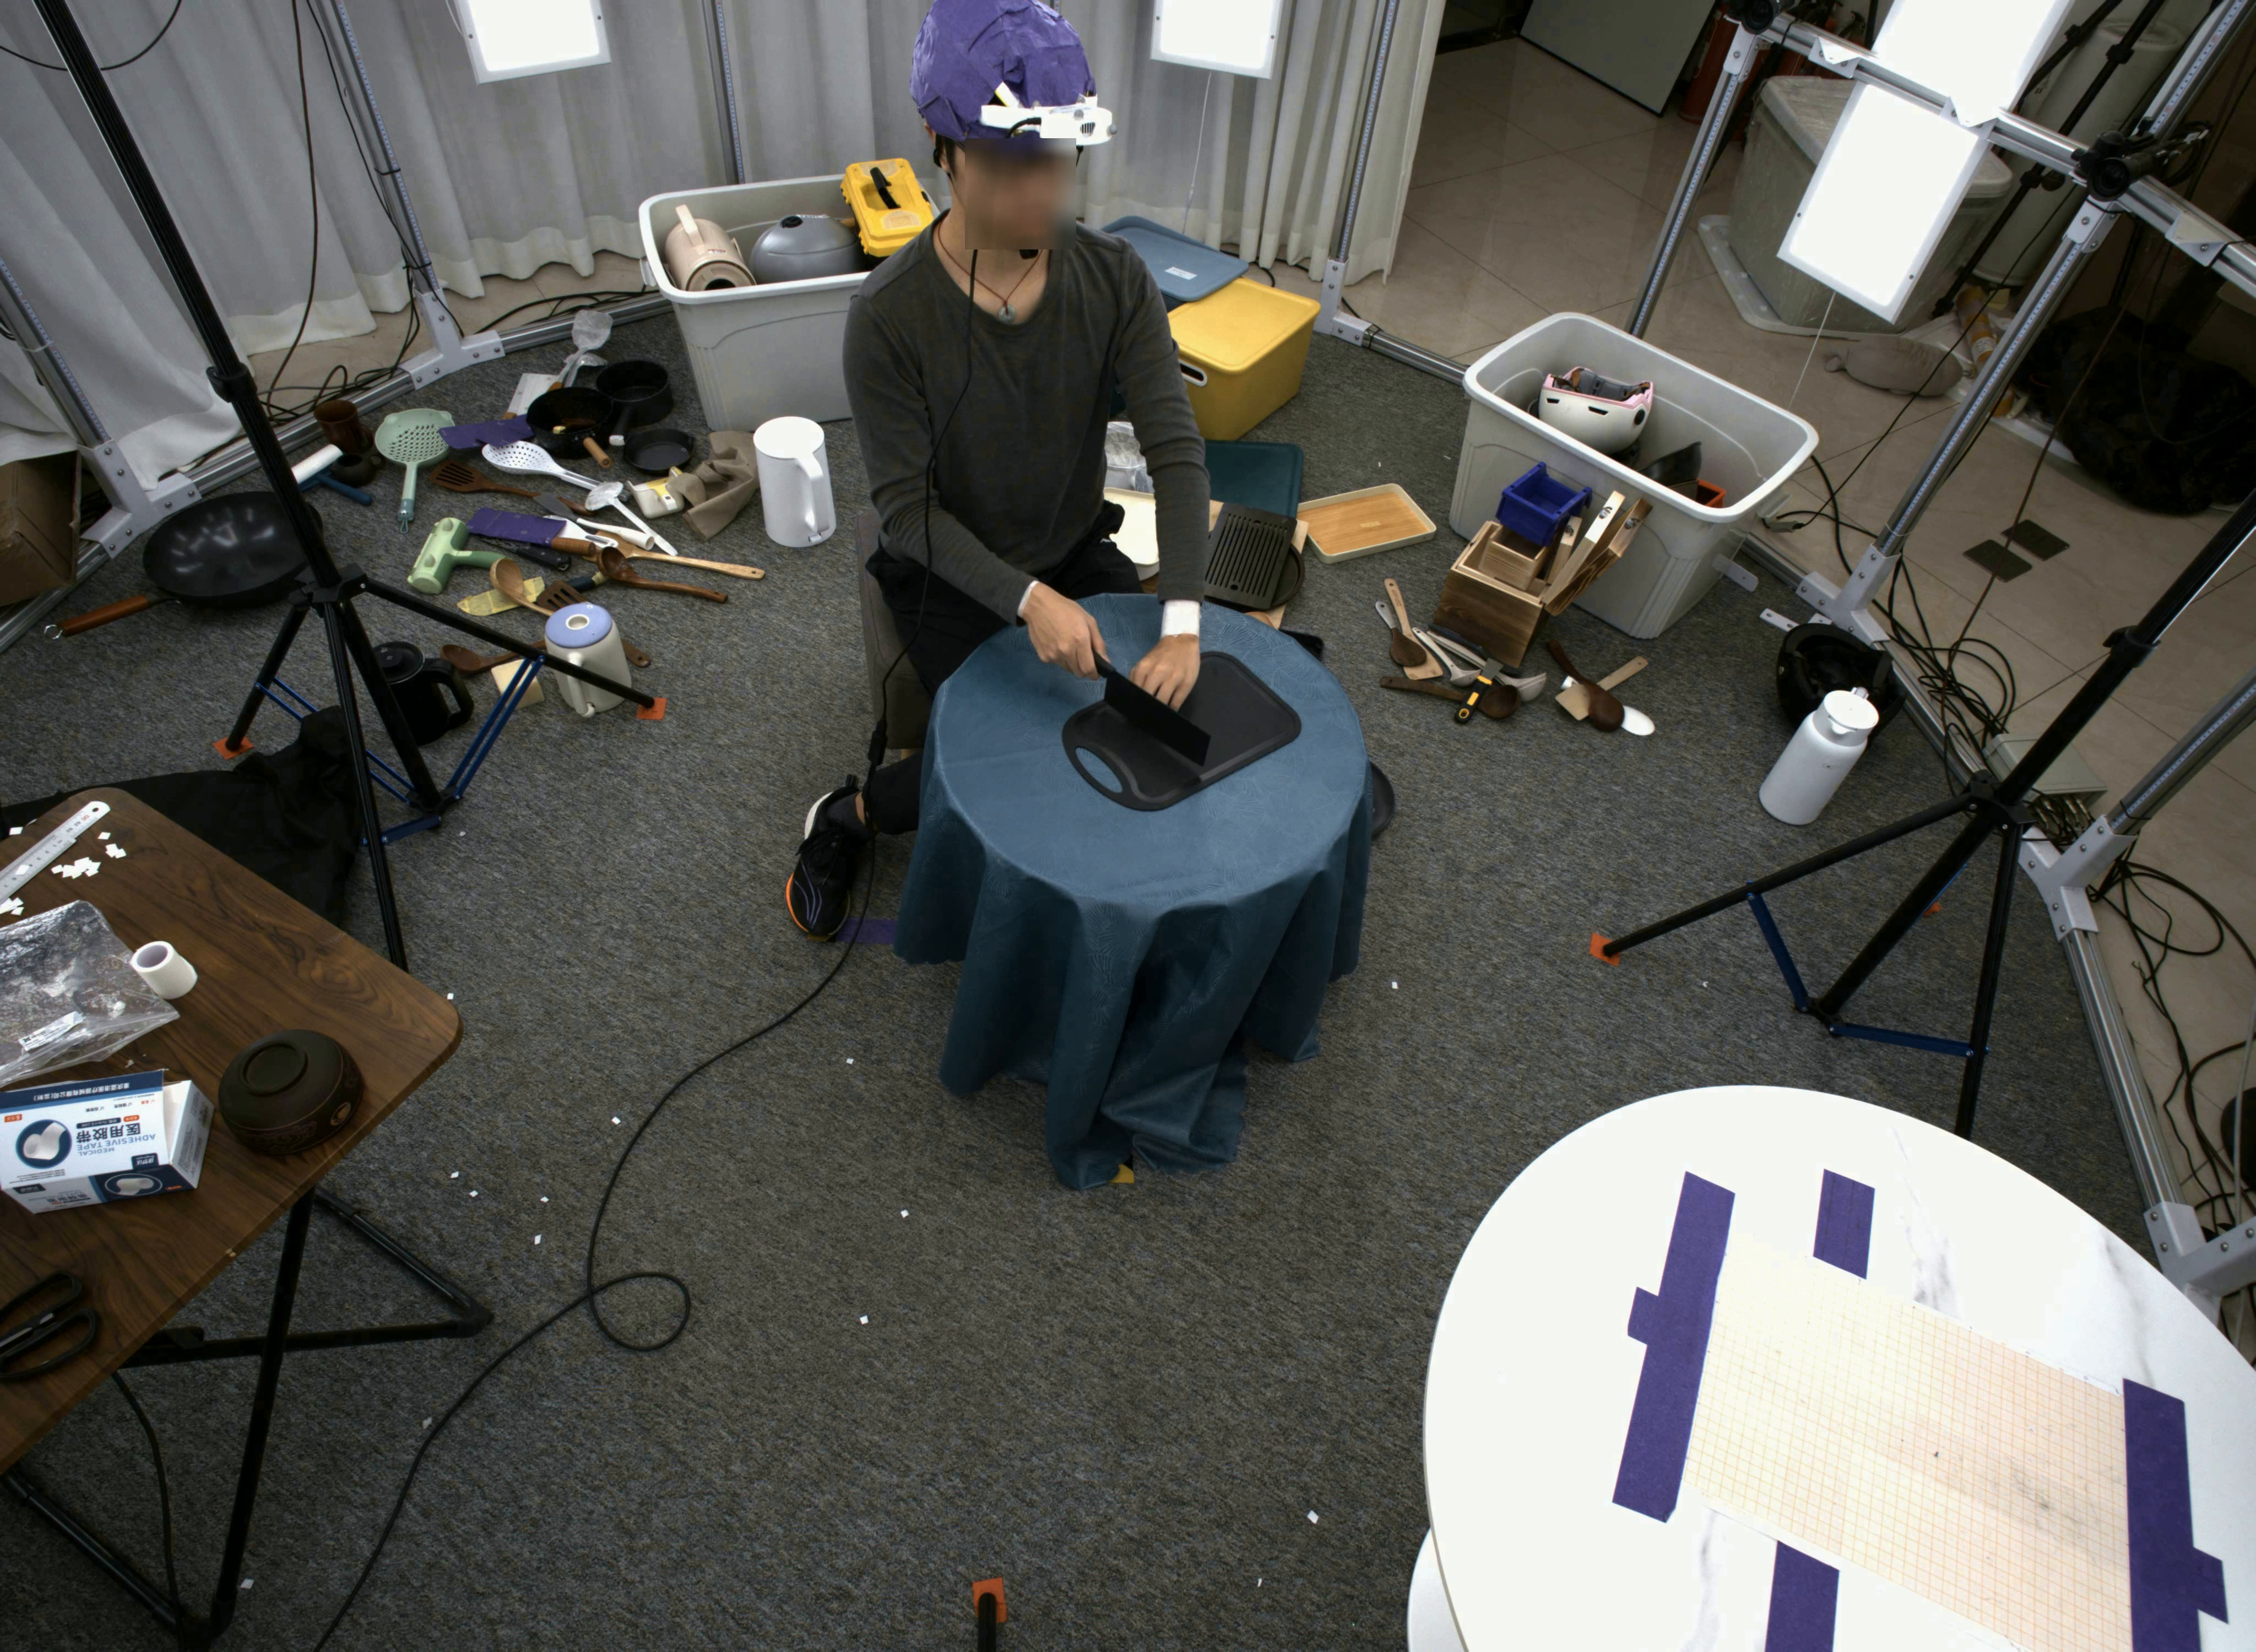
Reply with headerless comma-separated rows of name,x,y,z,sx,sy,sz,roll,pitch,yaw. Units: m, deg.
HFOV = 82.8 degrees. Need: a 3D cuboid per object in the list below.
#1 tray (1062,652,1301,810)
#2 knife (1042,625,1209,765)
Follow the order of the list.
tray,0.071,-0.136,1.785,0.327,0.009,0.215,-27,56,-25
knife,-0.006,-0.185,1.762,0.306,0.079,0.021,39,52,21
